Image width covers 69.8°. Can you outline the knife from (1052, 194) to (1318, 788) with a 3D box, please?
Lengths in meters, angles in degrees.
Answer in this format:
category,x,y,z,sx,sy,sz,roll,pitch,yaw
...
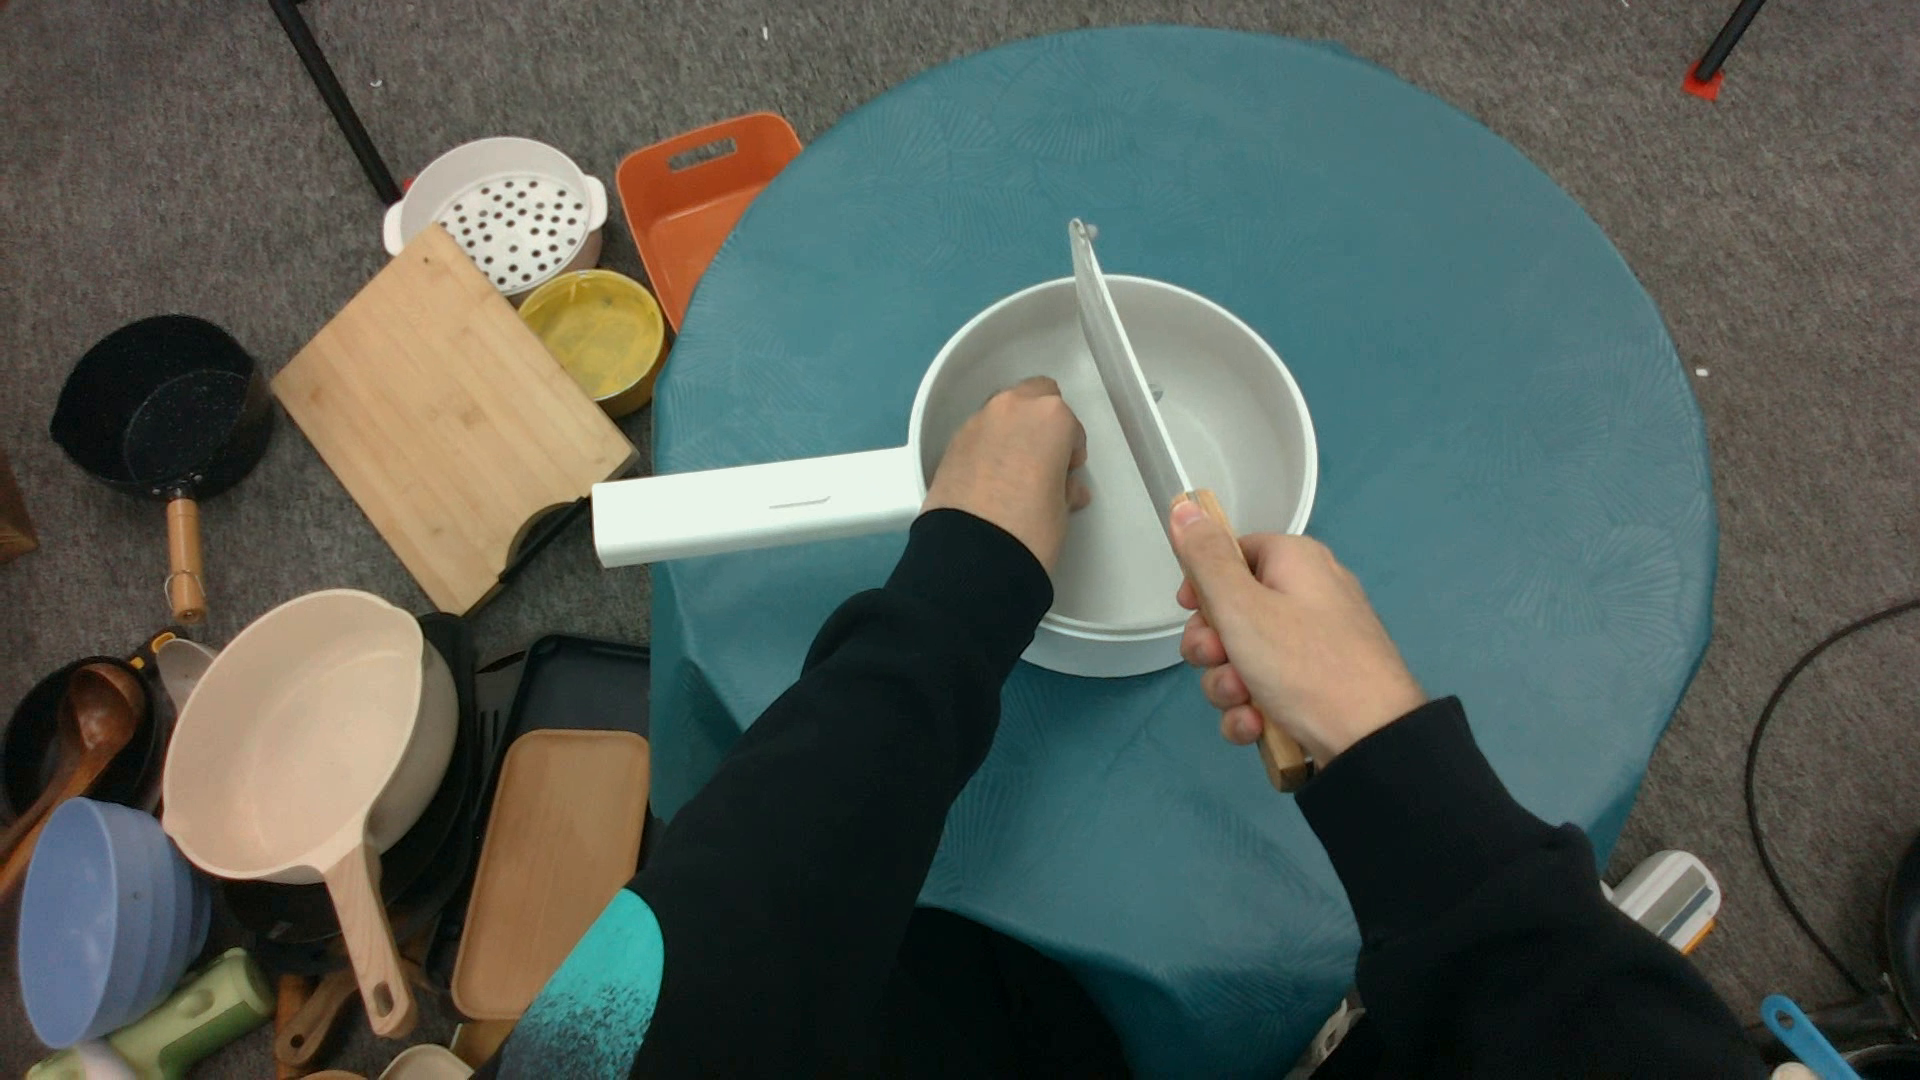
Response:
category,x,y,z,sx,sy,sz,roll,pitch,yaw
knife,0.086,-0.031,0.605,0.022,0.113,0.316,-17,52,-1

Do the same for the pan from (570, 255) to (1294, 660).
category,x,y,z,sx,sy,sz,roll,pitch,yaw
pan,-0.012,-0.027,0.712,0.355,0.102,0.202,-8,69,-4
